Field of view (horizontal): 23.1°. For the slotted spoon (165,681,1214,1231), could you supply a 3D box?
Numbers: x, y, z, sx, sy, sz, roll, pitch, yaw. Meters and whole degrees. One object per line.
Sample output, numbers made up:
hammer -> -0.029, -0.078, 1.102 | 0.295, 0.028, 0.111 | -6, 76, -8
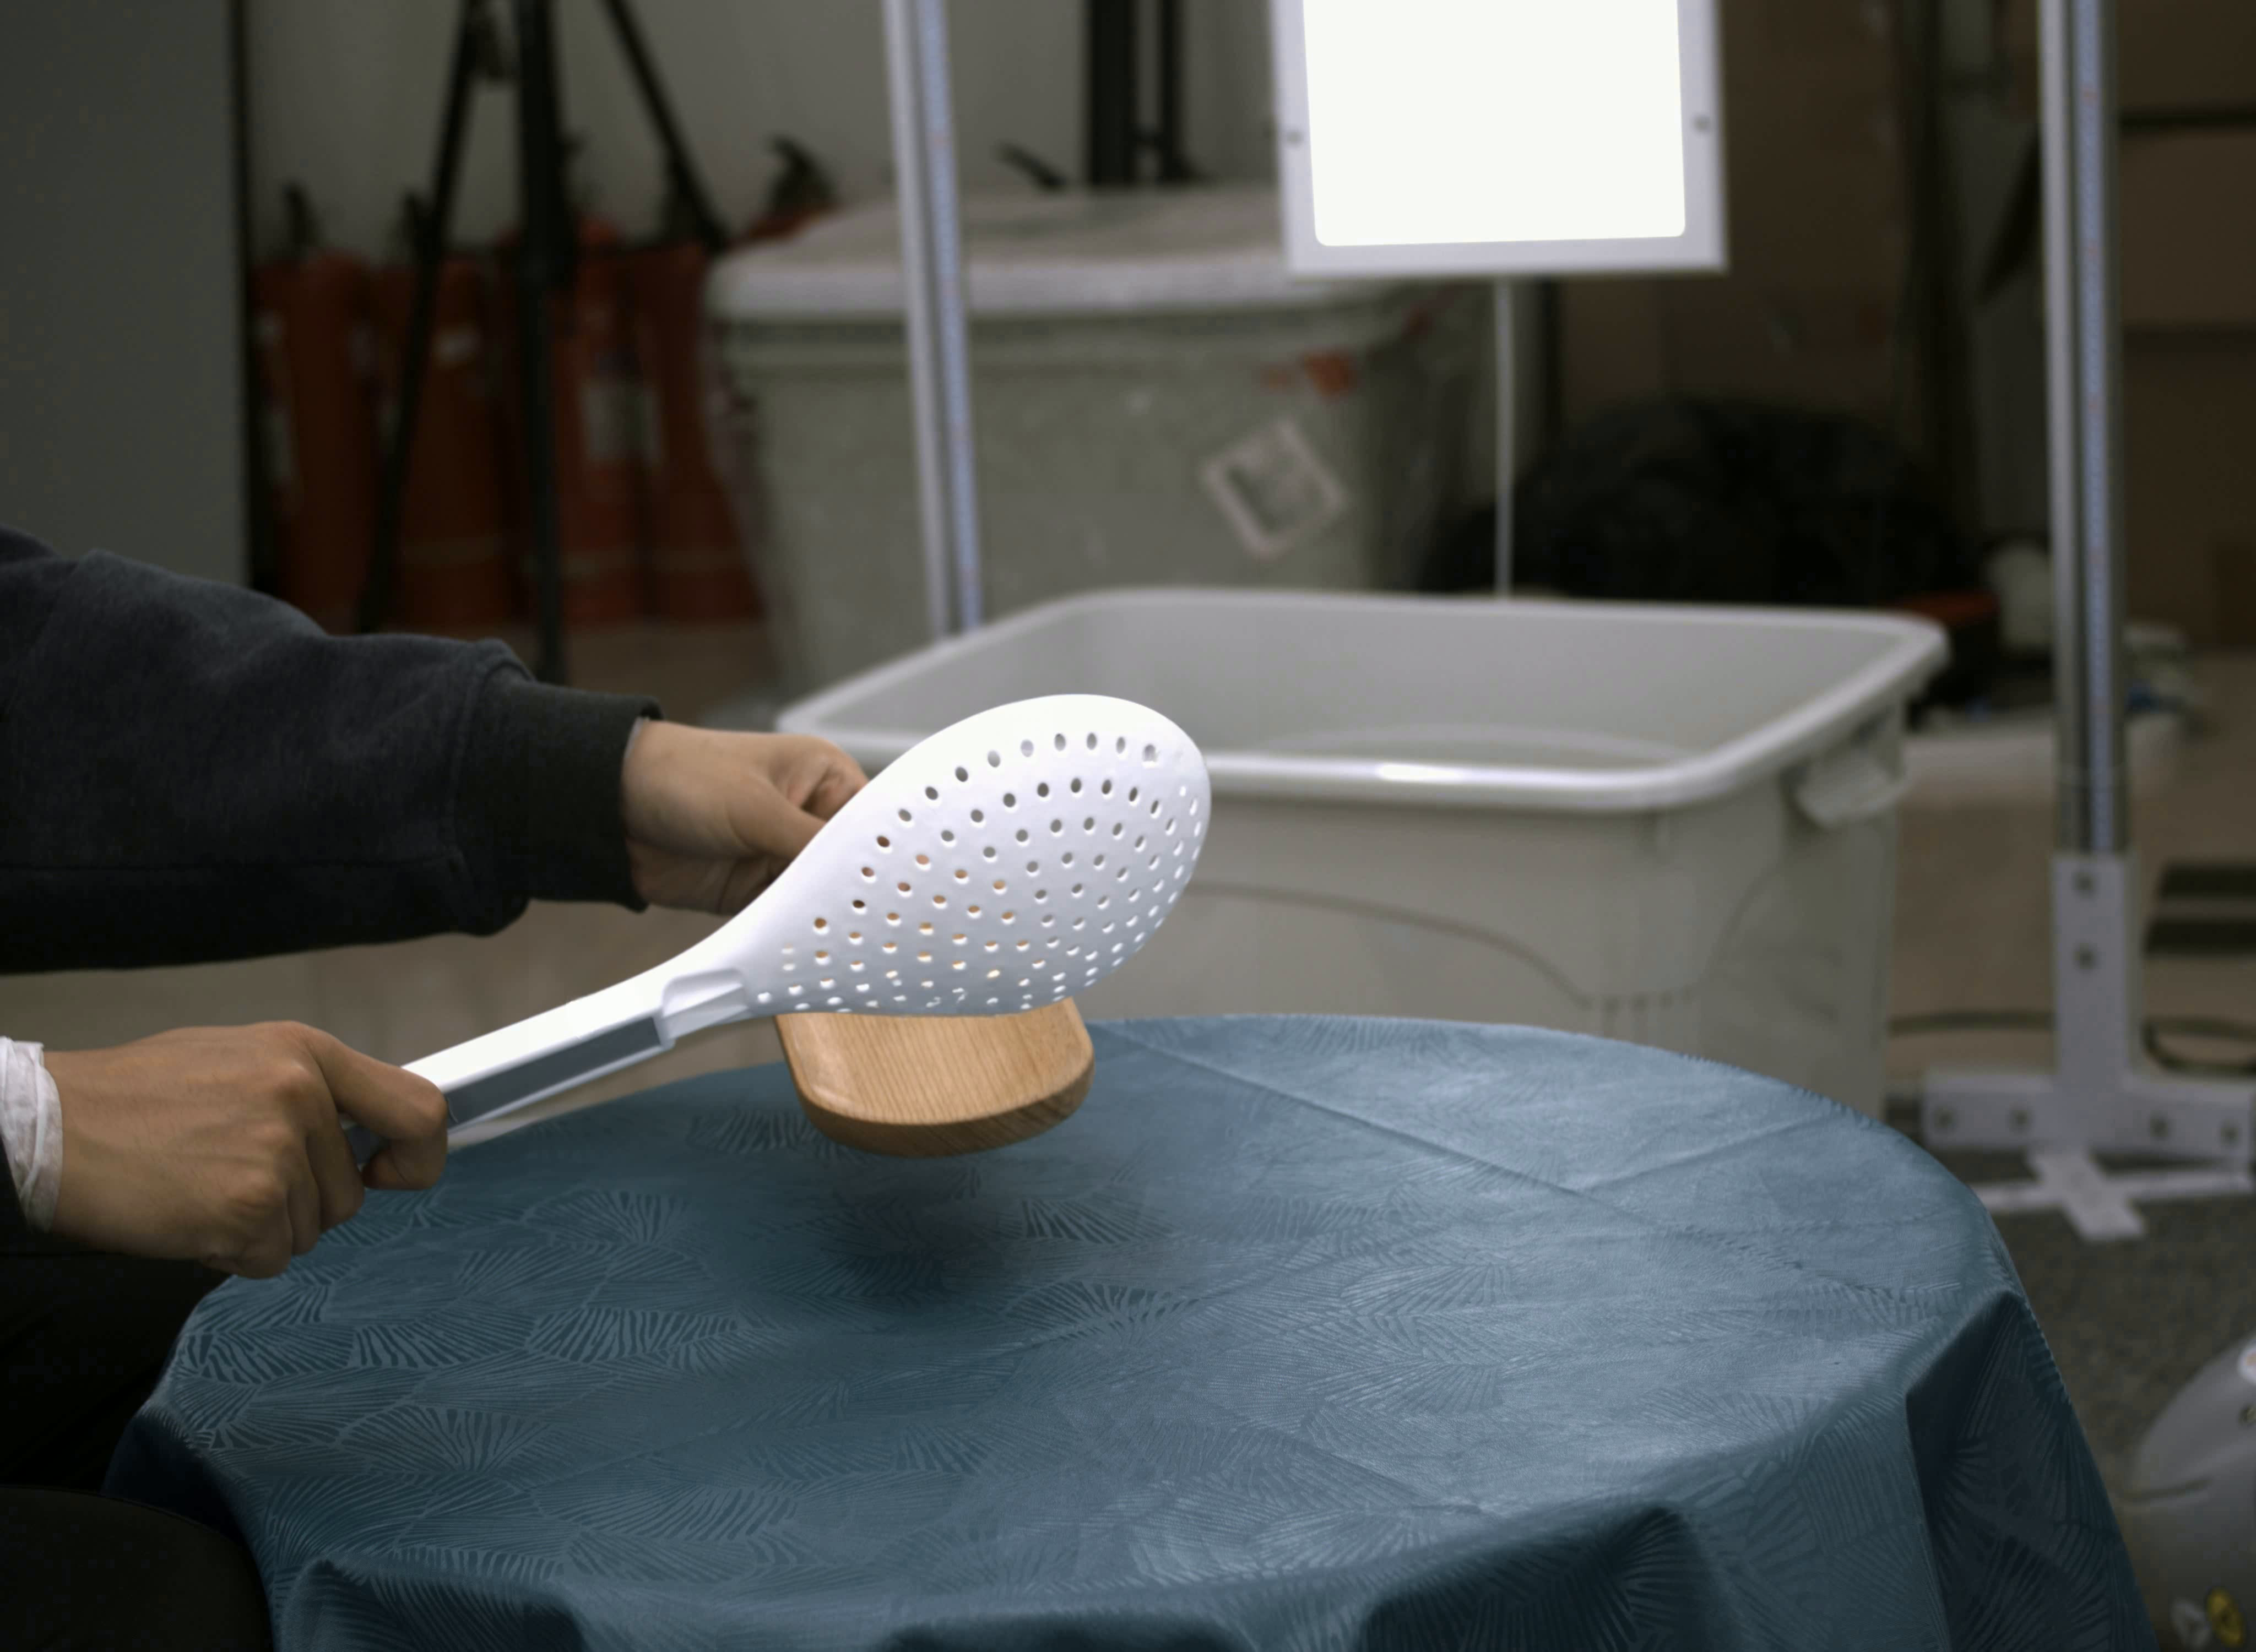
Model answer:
slotted spoon -> -0.133, 0.051, 1.718 | 0.348, 0.136, 0.046 | -18, 47, -2

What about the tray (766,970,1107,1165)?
tray -> -0.070, 0.065, 1.896 | 0.101, 0.020, 0.232 | -10, 22, -8
